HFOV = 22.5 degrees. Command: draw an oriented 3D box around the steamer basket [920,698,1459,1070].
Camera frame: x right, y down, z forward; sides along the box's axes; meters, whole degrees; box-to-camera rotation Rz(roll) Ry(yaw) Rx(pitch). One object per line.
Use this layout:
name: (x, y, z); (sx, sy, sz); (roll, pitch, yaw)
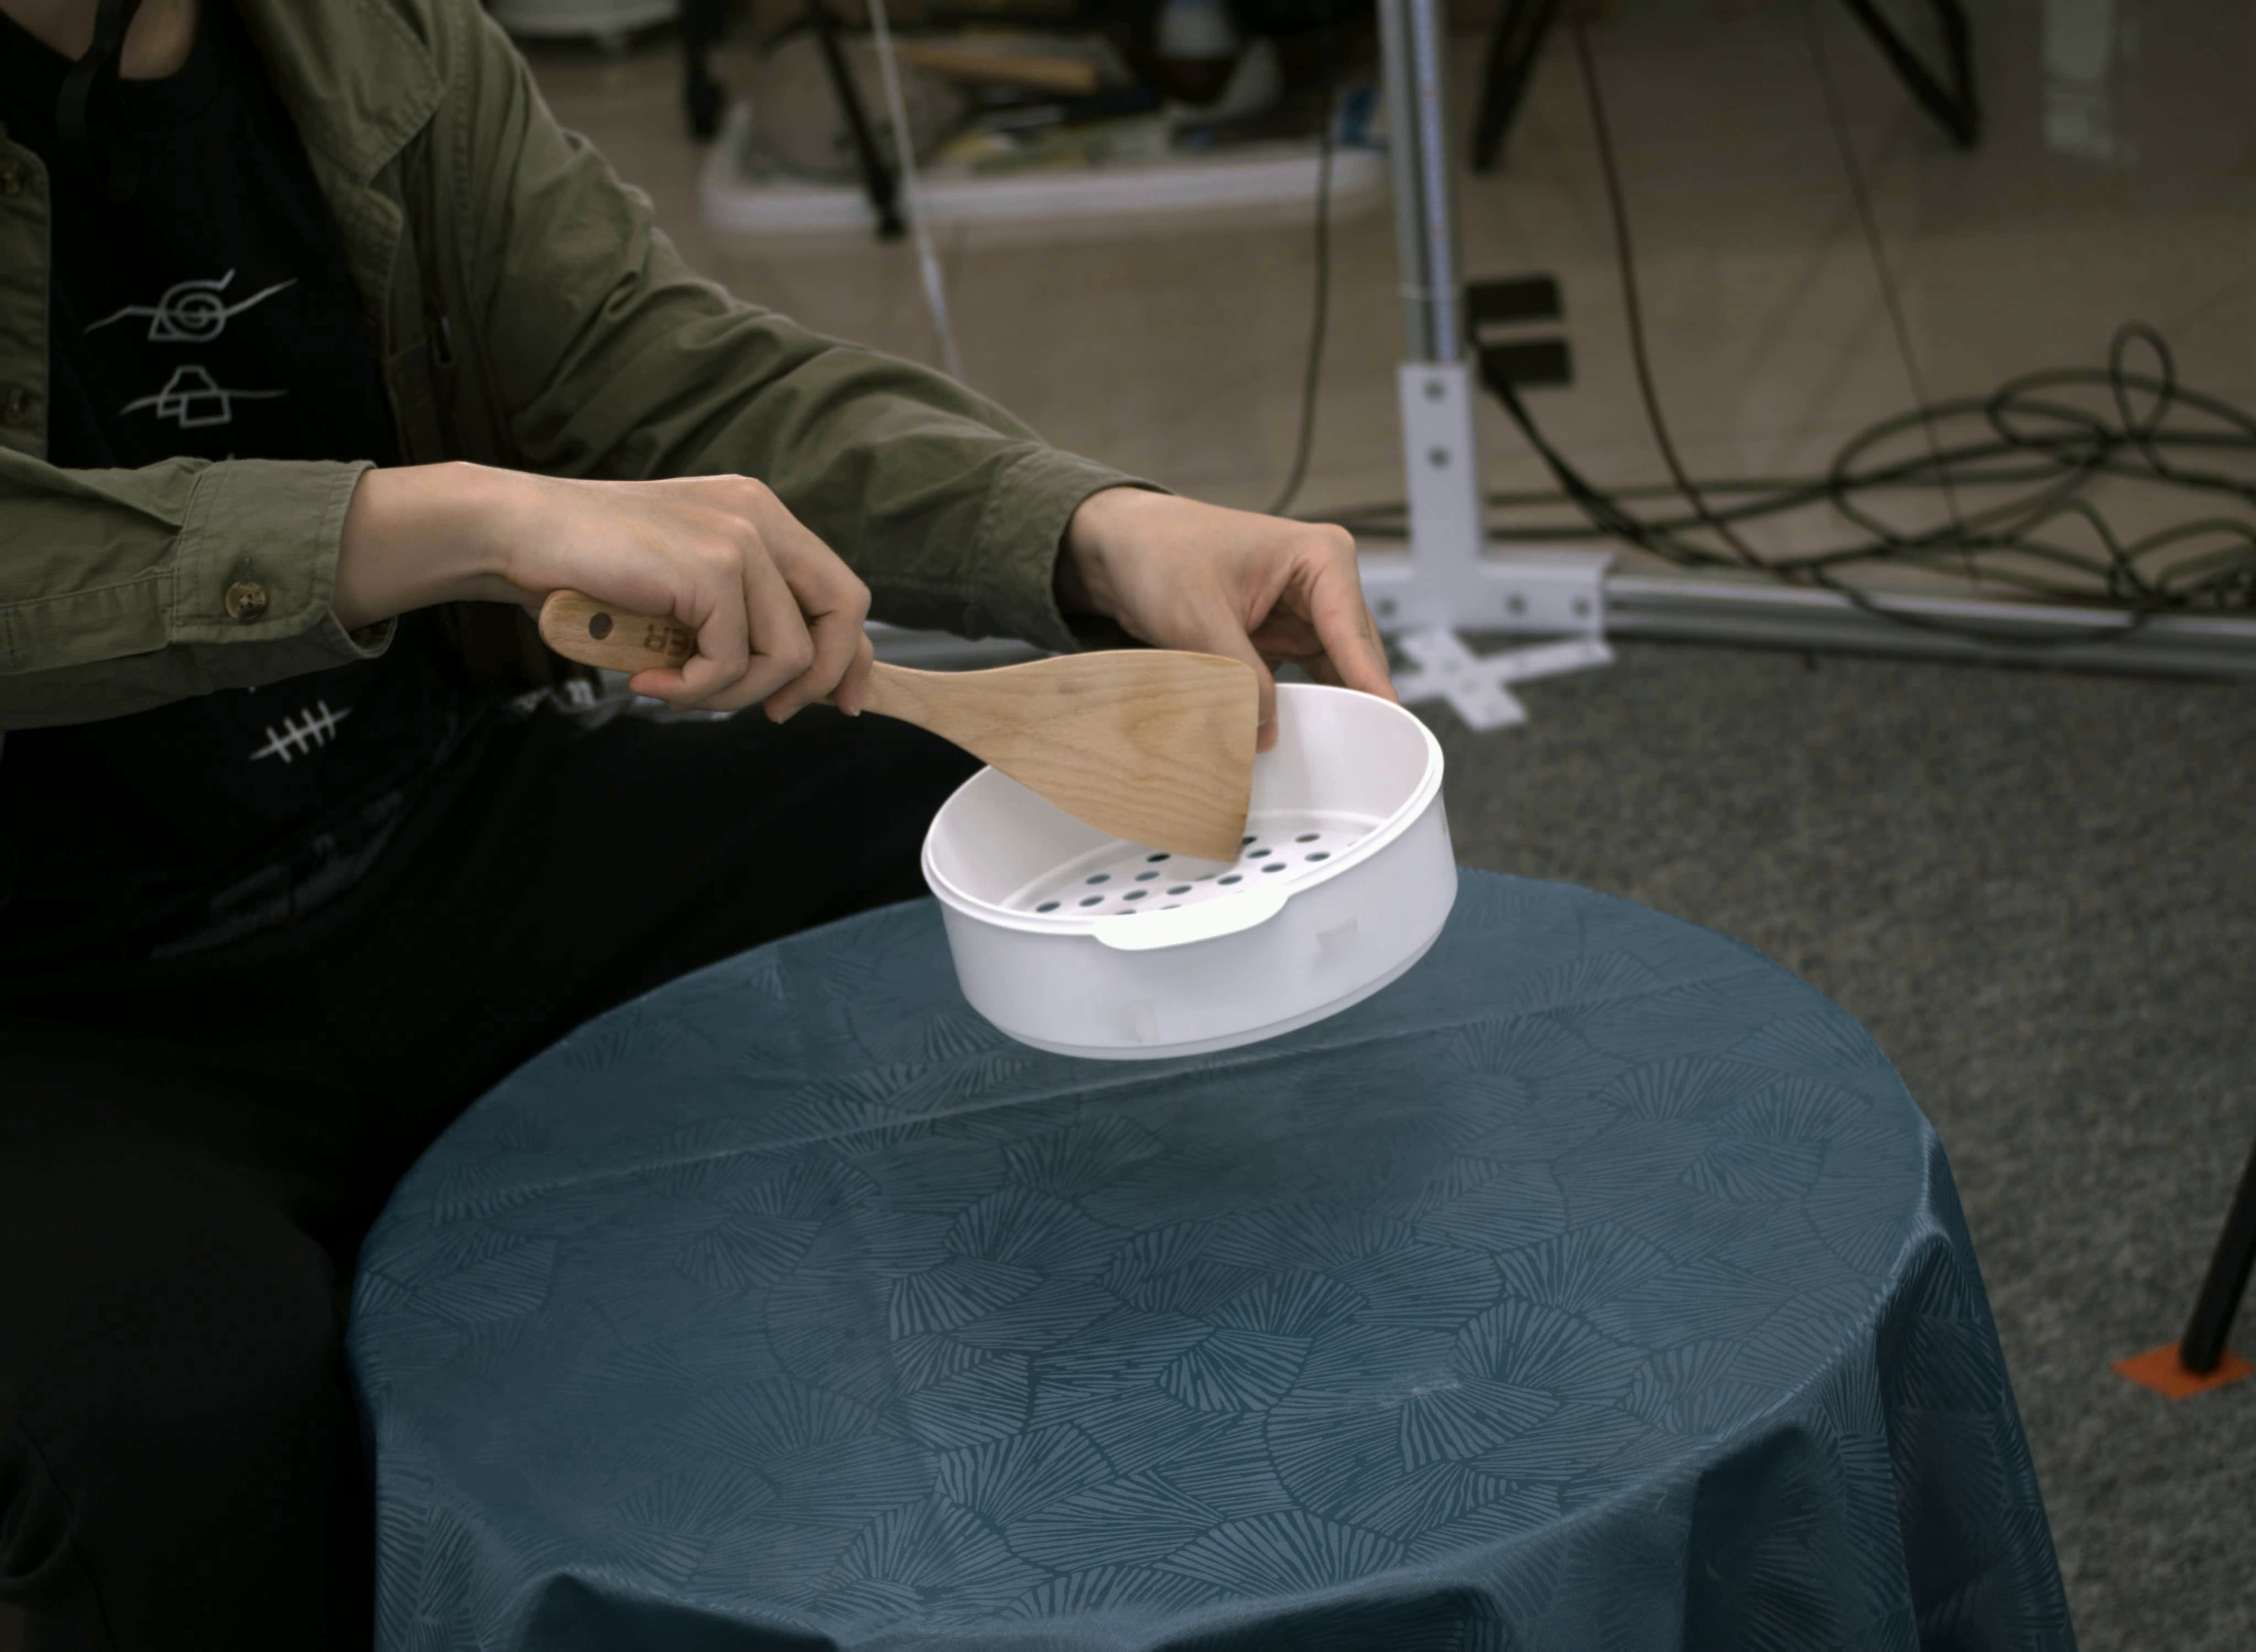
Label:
steamer basket: (0.026, 0.022, 2.138); (0.201, 0.070, 0.227); (-11, 24, 4)

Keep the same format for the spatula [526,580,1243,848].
spatula: (-0.083, -0.052, 2.095); (0.328, 0.080, 0.016); (11, 8, -39)
